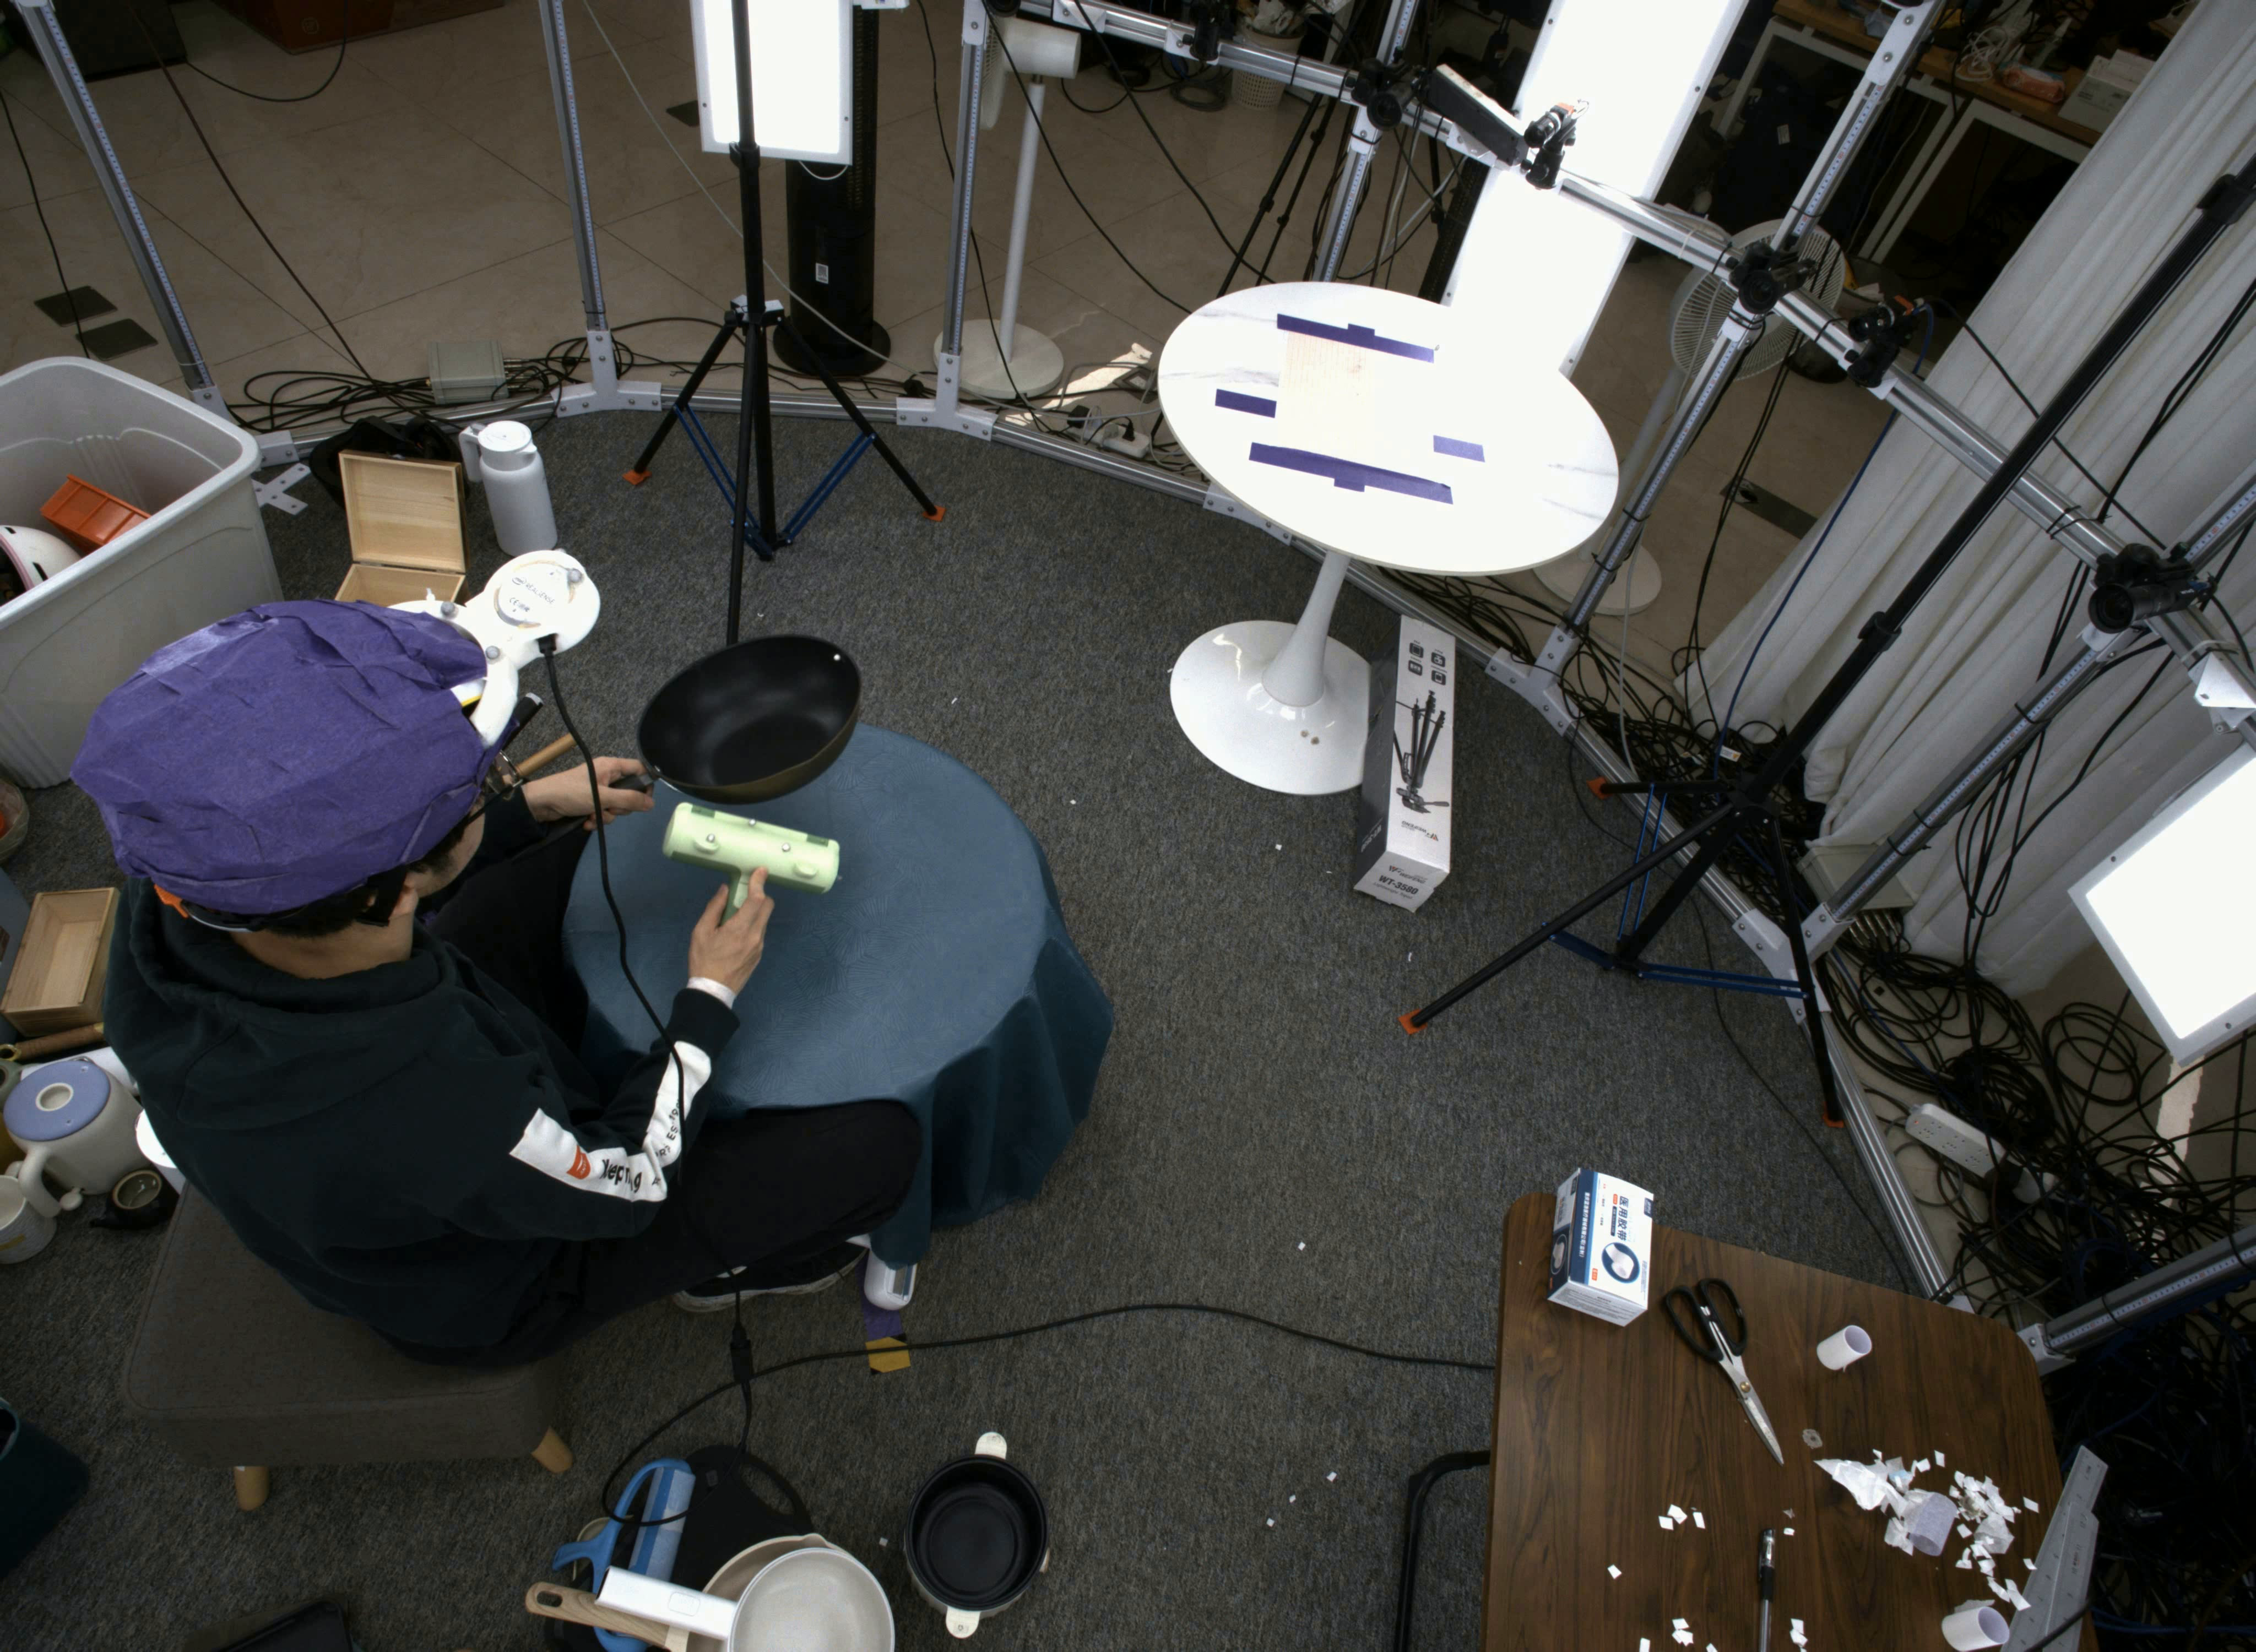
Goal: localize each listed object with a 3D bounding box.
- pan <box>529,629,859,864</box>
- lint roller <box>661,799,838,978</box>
[{"bbox_3d":[-0.518,-0.069,1.541,0.463,0.090,0.277,-38,52,-24],"label":"pan"},{"bbox_3d":[-0.443,0.080,1.484,0.202,0.080,0.184,16,78,-29],"label":"lint roller"}]
